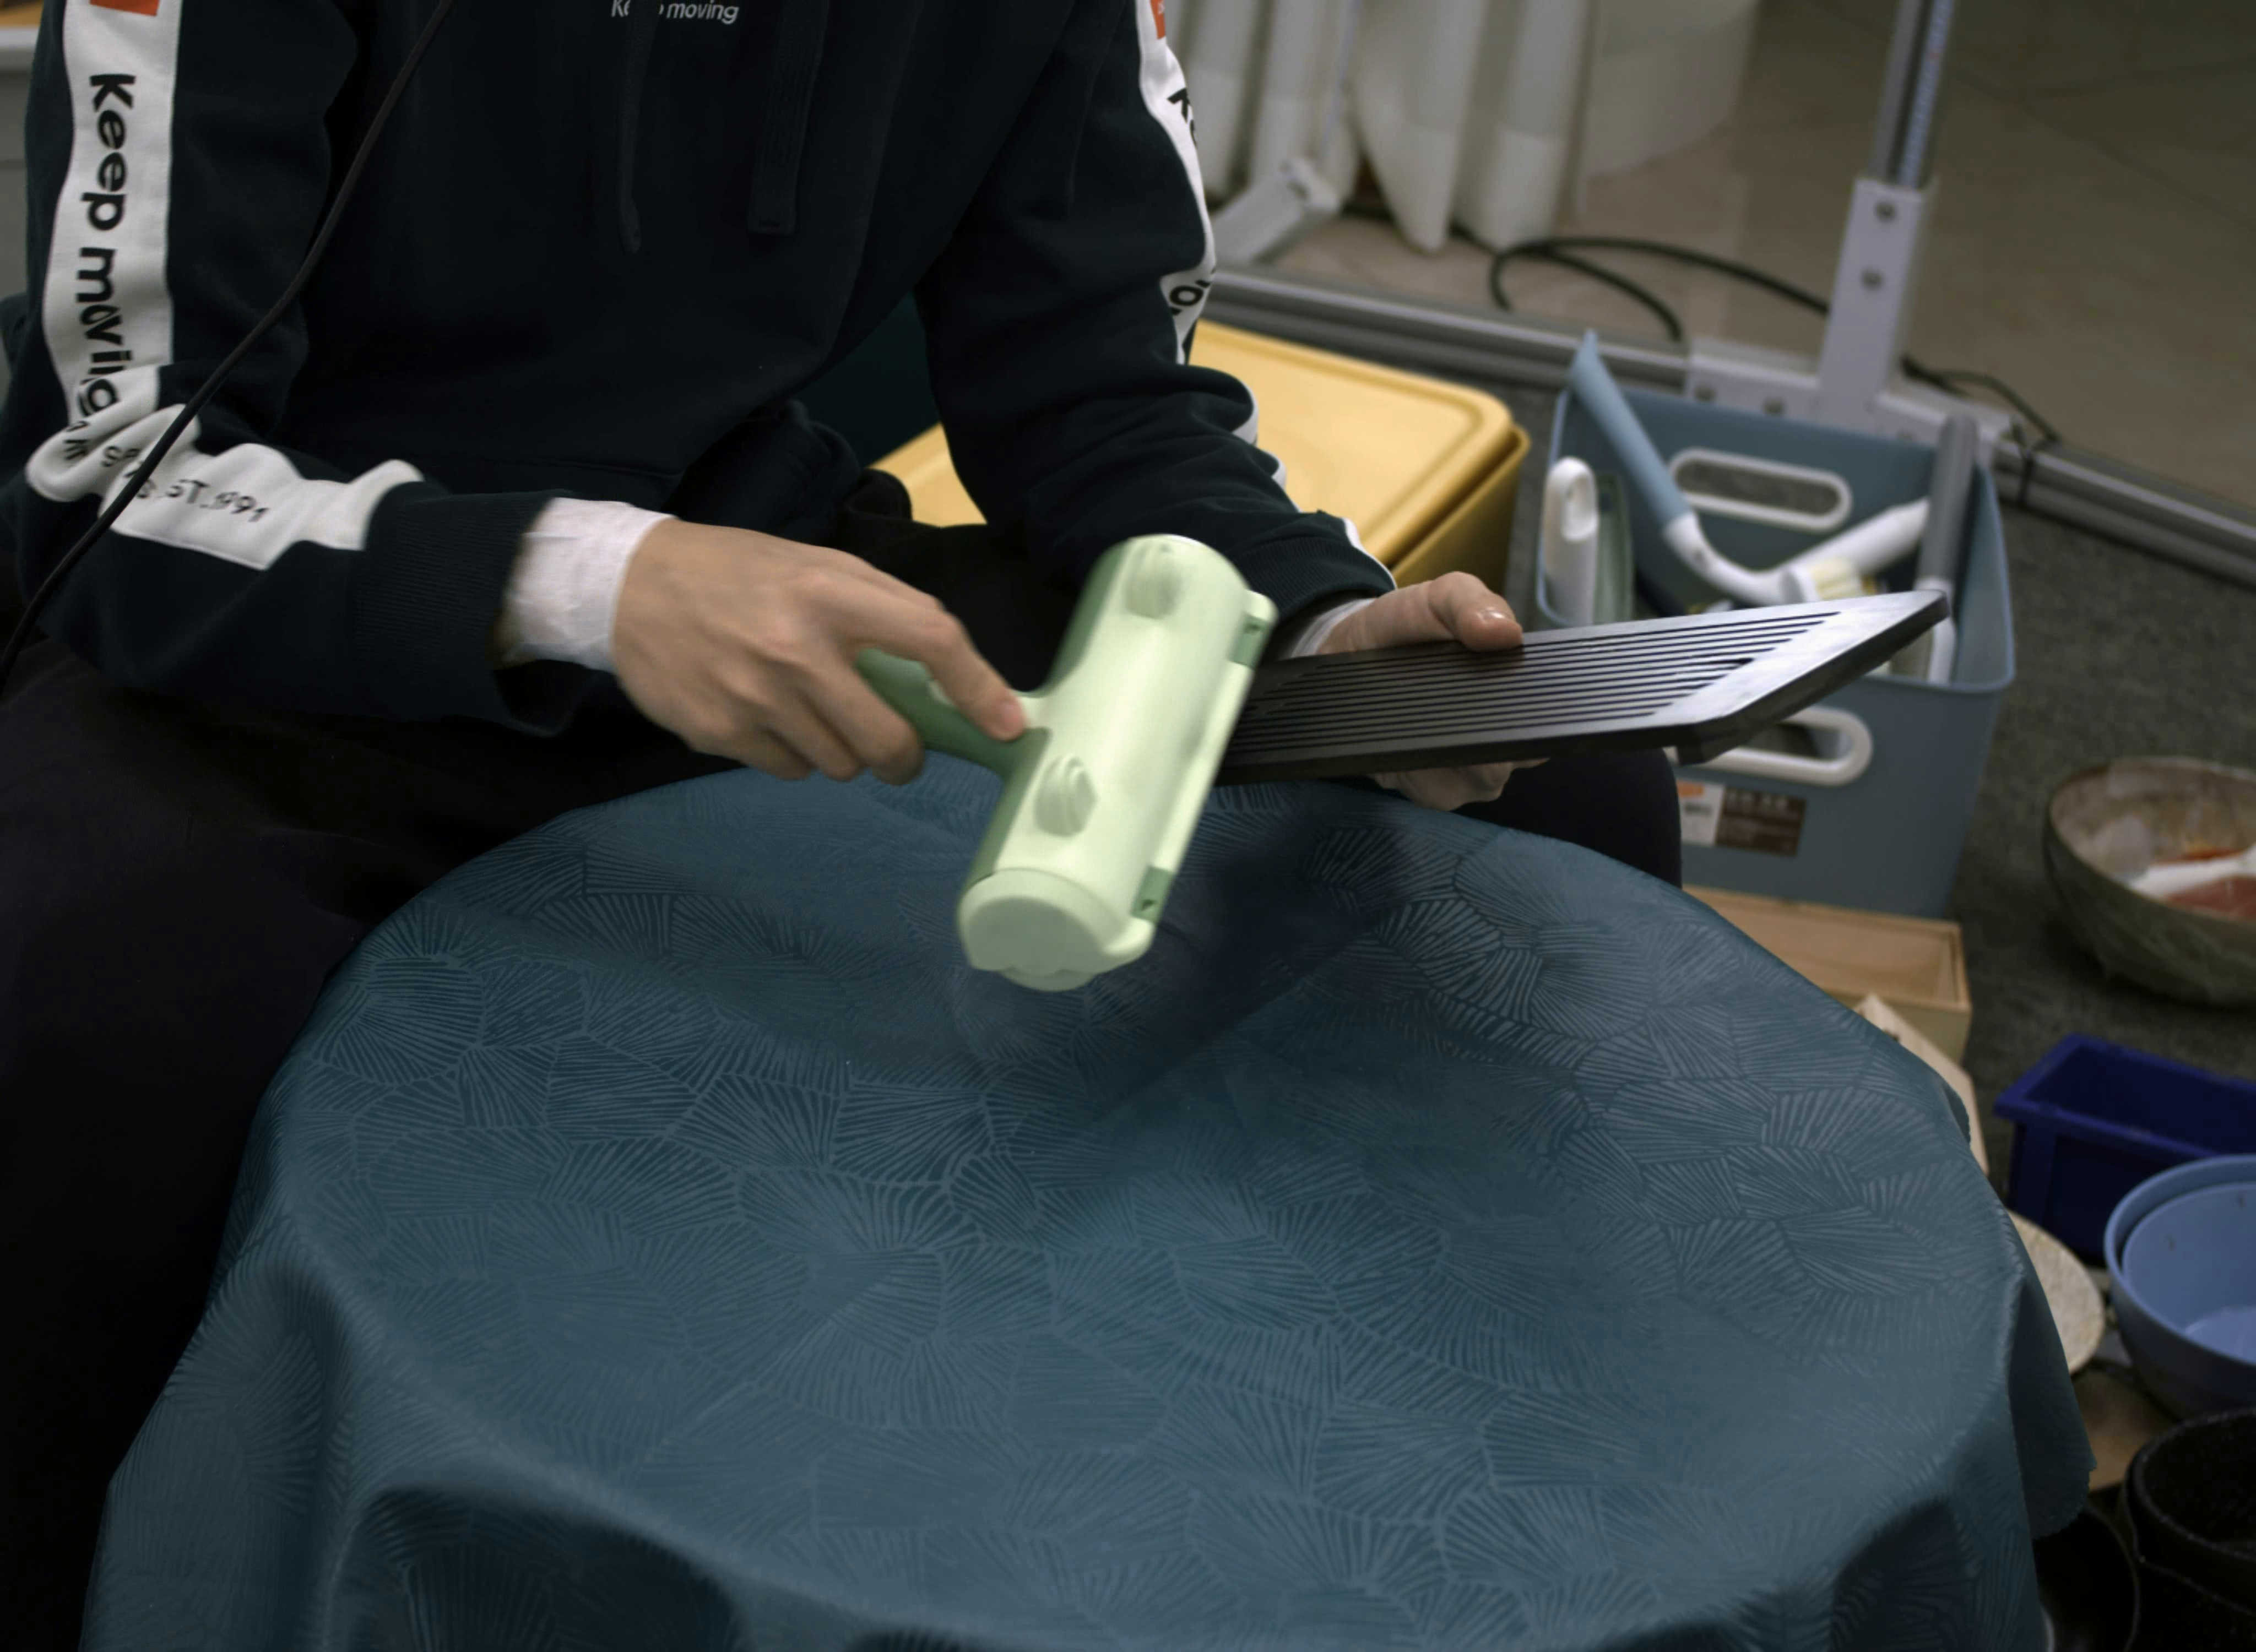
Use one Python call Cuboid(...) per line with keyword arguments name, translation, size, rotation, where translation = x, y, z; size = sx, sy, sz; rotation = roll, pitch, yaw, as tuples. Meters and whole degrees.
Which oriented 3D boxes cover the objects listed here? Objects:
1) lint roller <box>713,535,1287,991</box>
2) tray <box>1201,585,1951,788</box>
Cuboid(name="lint roller", translation=(-0.053, -0.049, 1.846), size=(0.183, 0.082, 0.199), rotation=(22, 45, 2))
Cuboid(name="tray", translation=(0.126, -0.042, 1.893), size=(0.307, 0.018, 0.169), rotation=(-6, 13, 40))
